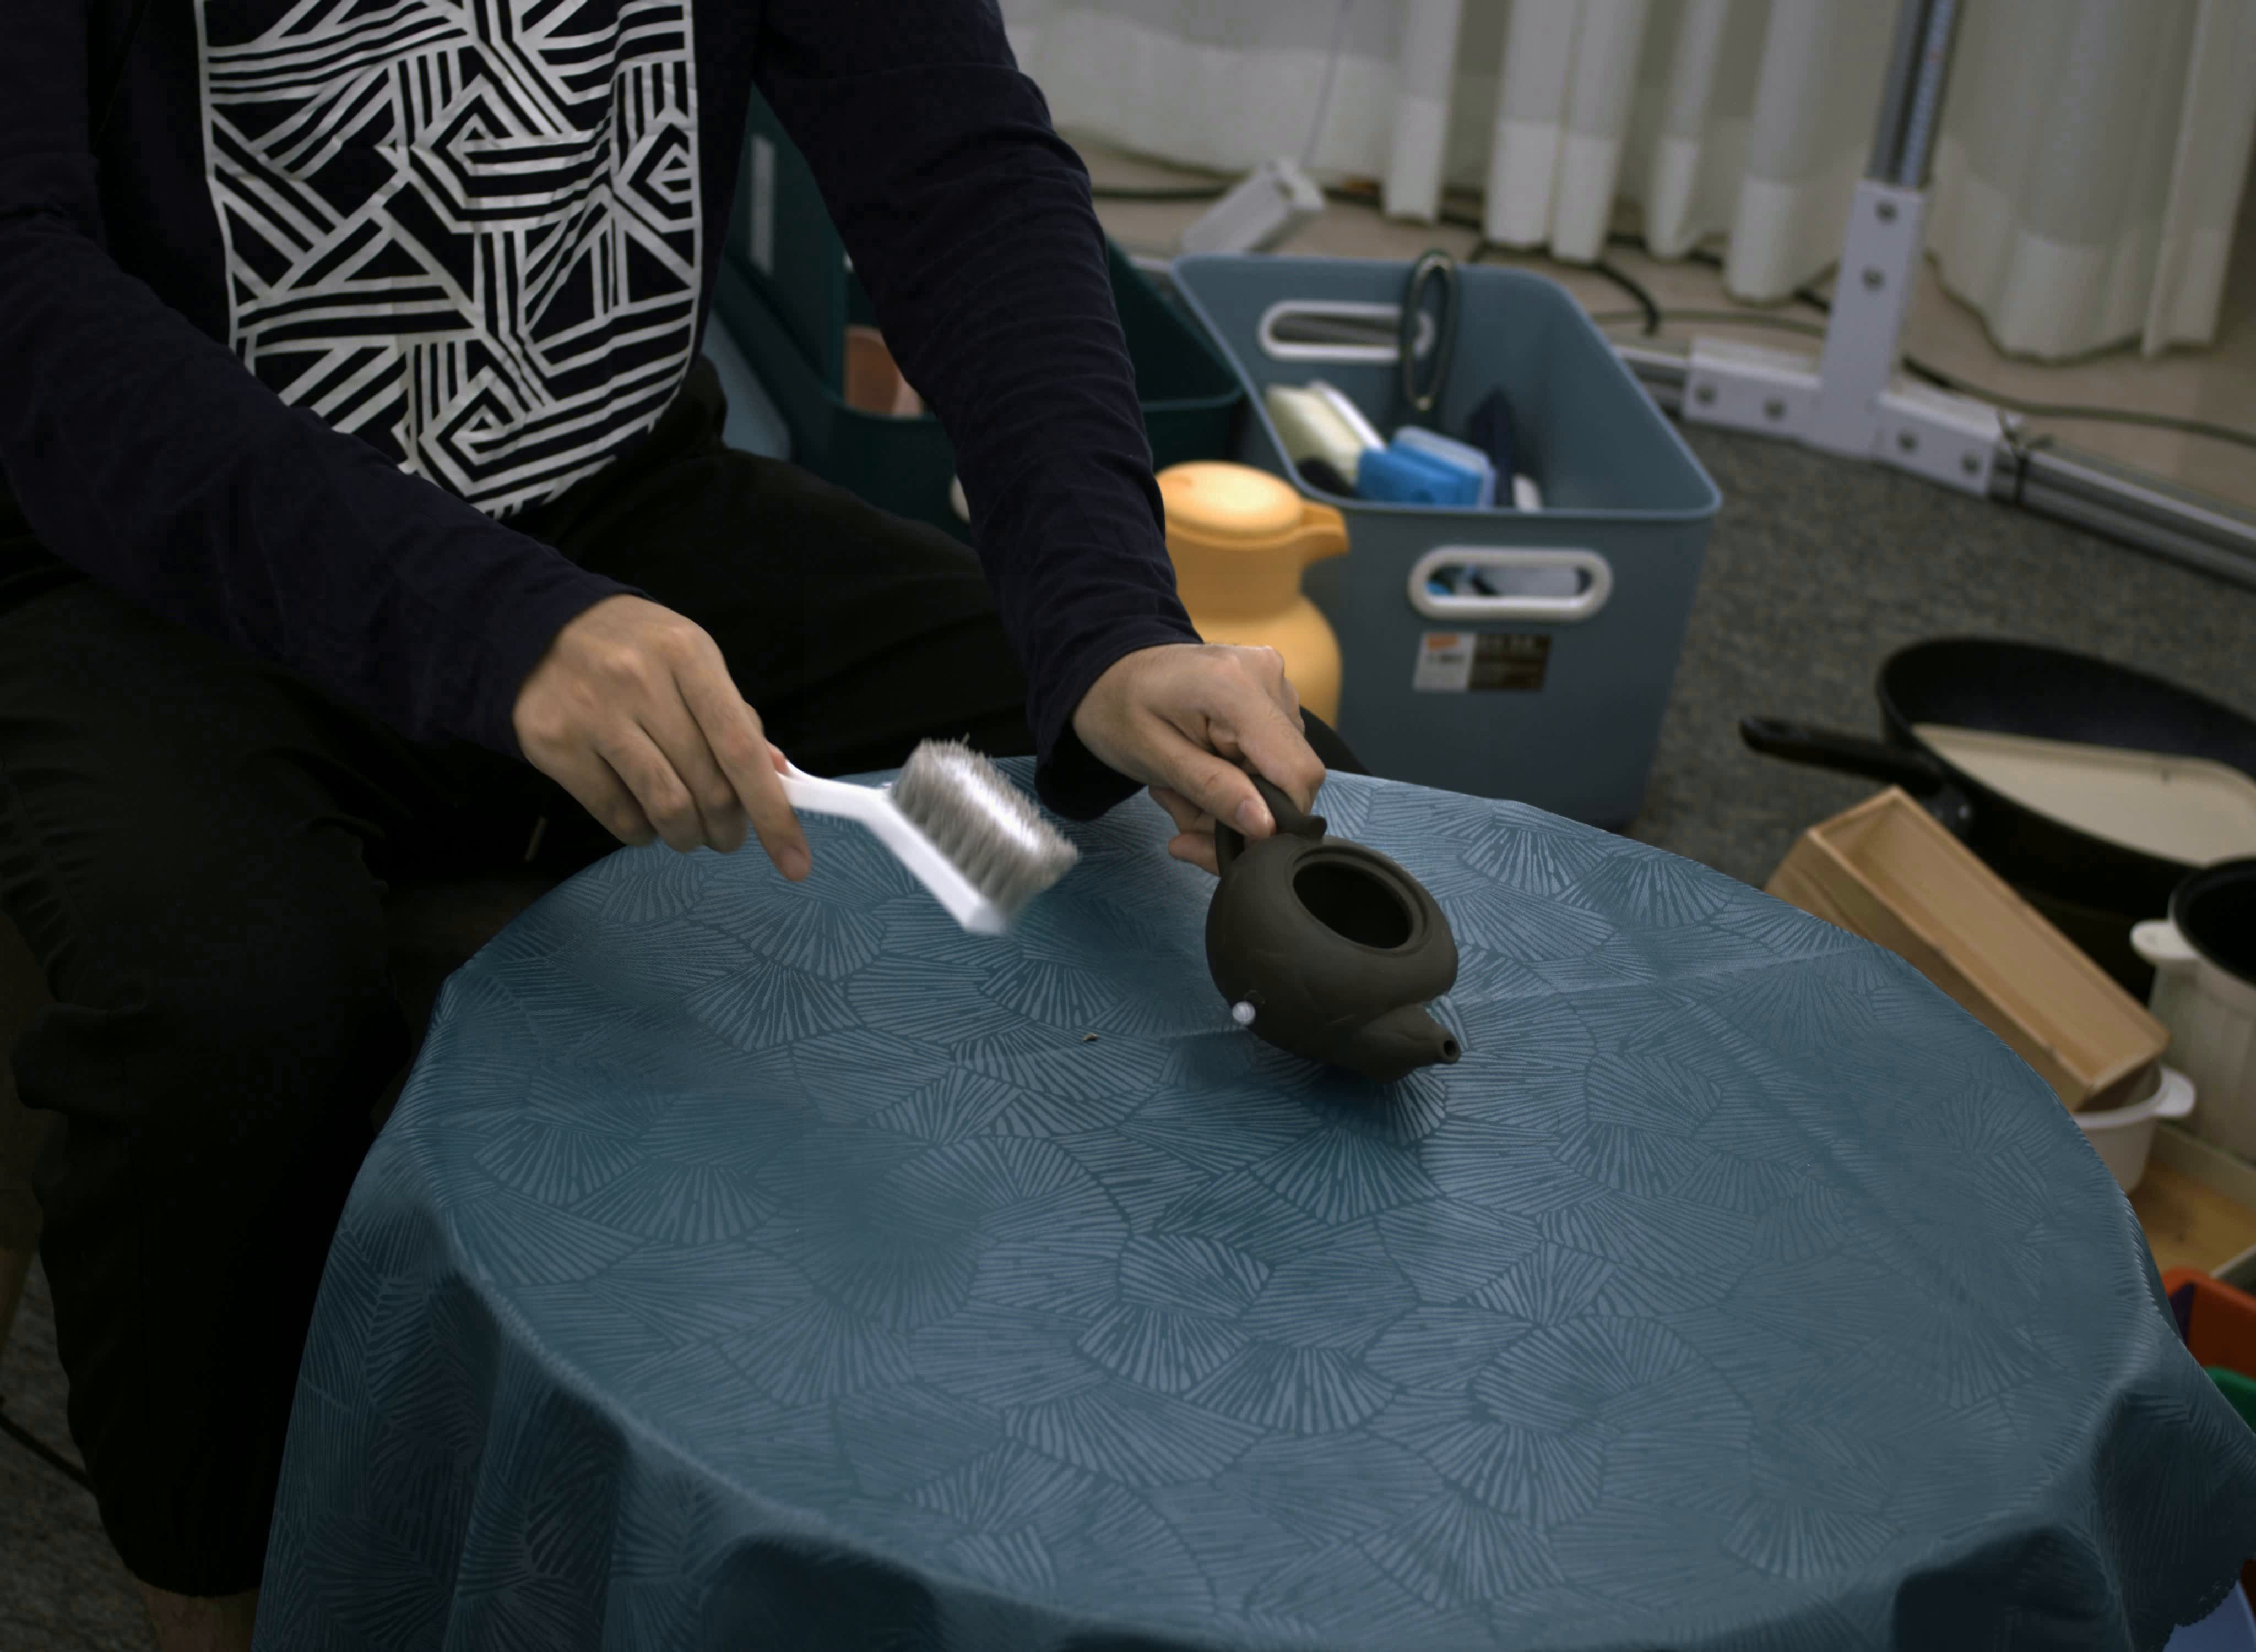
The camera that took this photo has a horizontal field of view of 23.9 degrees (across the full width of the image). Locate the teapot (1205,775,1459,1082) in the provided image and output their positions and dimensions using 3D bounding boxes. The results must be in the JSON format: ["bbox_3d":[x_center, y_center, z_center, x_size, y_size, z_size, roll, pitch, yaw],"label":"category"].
[{"bbox_3d":[0.070,0.042,1.899,0.091,0.064,0.156,-1,42,-35],"label":"teapot"}]

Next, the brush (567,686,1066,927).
[{"bbox_3d":[-0.113,-0.026,1.847,0.034,0.050,0.245,-3,22,-44],"label":"brush"}]
